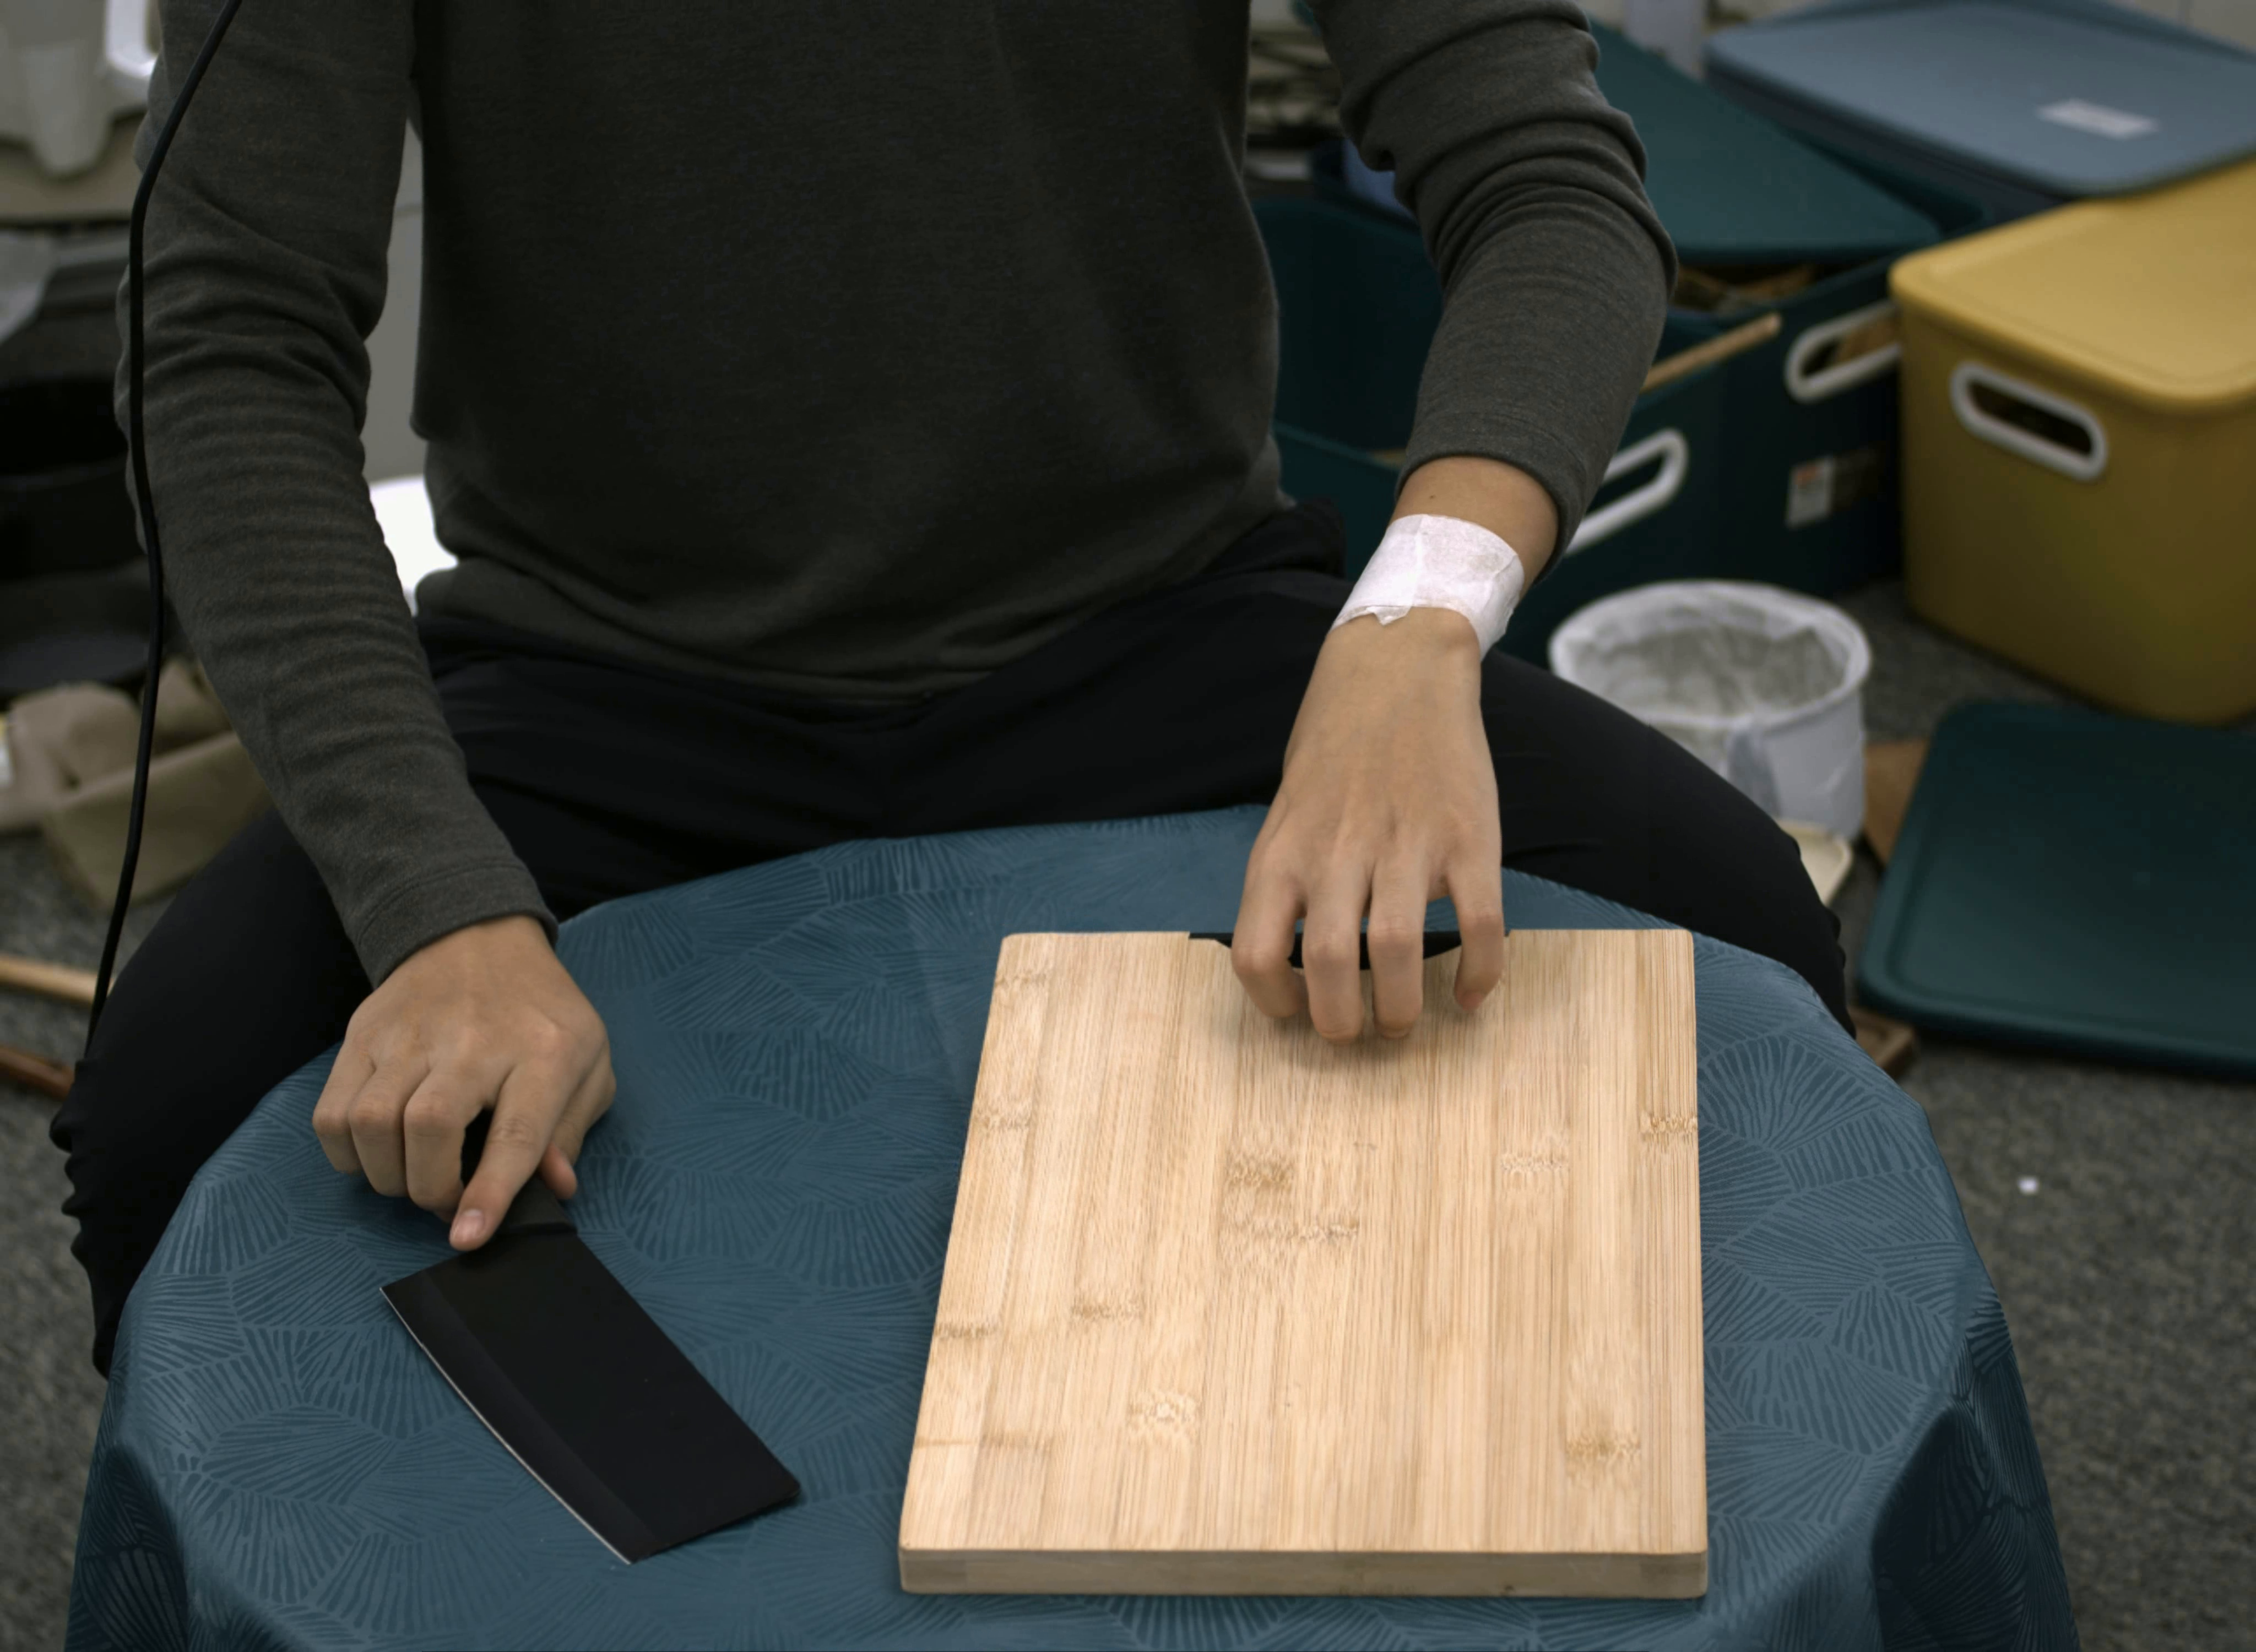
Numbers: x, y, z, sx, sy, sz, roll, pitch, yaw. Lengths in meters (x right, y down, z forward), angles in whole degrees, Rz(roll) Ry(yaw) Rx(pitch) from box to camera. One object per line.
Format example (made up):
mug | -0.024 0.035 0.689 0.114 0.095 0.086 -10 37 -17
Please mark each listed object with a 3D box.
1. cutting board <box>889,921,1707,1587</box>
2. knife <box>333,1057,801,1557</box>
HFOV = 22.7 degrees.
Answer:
cutting board | 0.064 0.130 1.801 0.249 0.023 0.354 0 31 4
knife | -0.196 0.151 1.809 0.081 0.020 0.304 -17 32 -19
